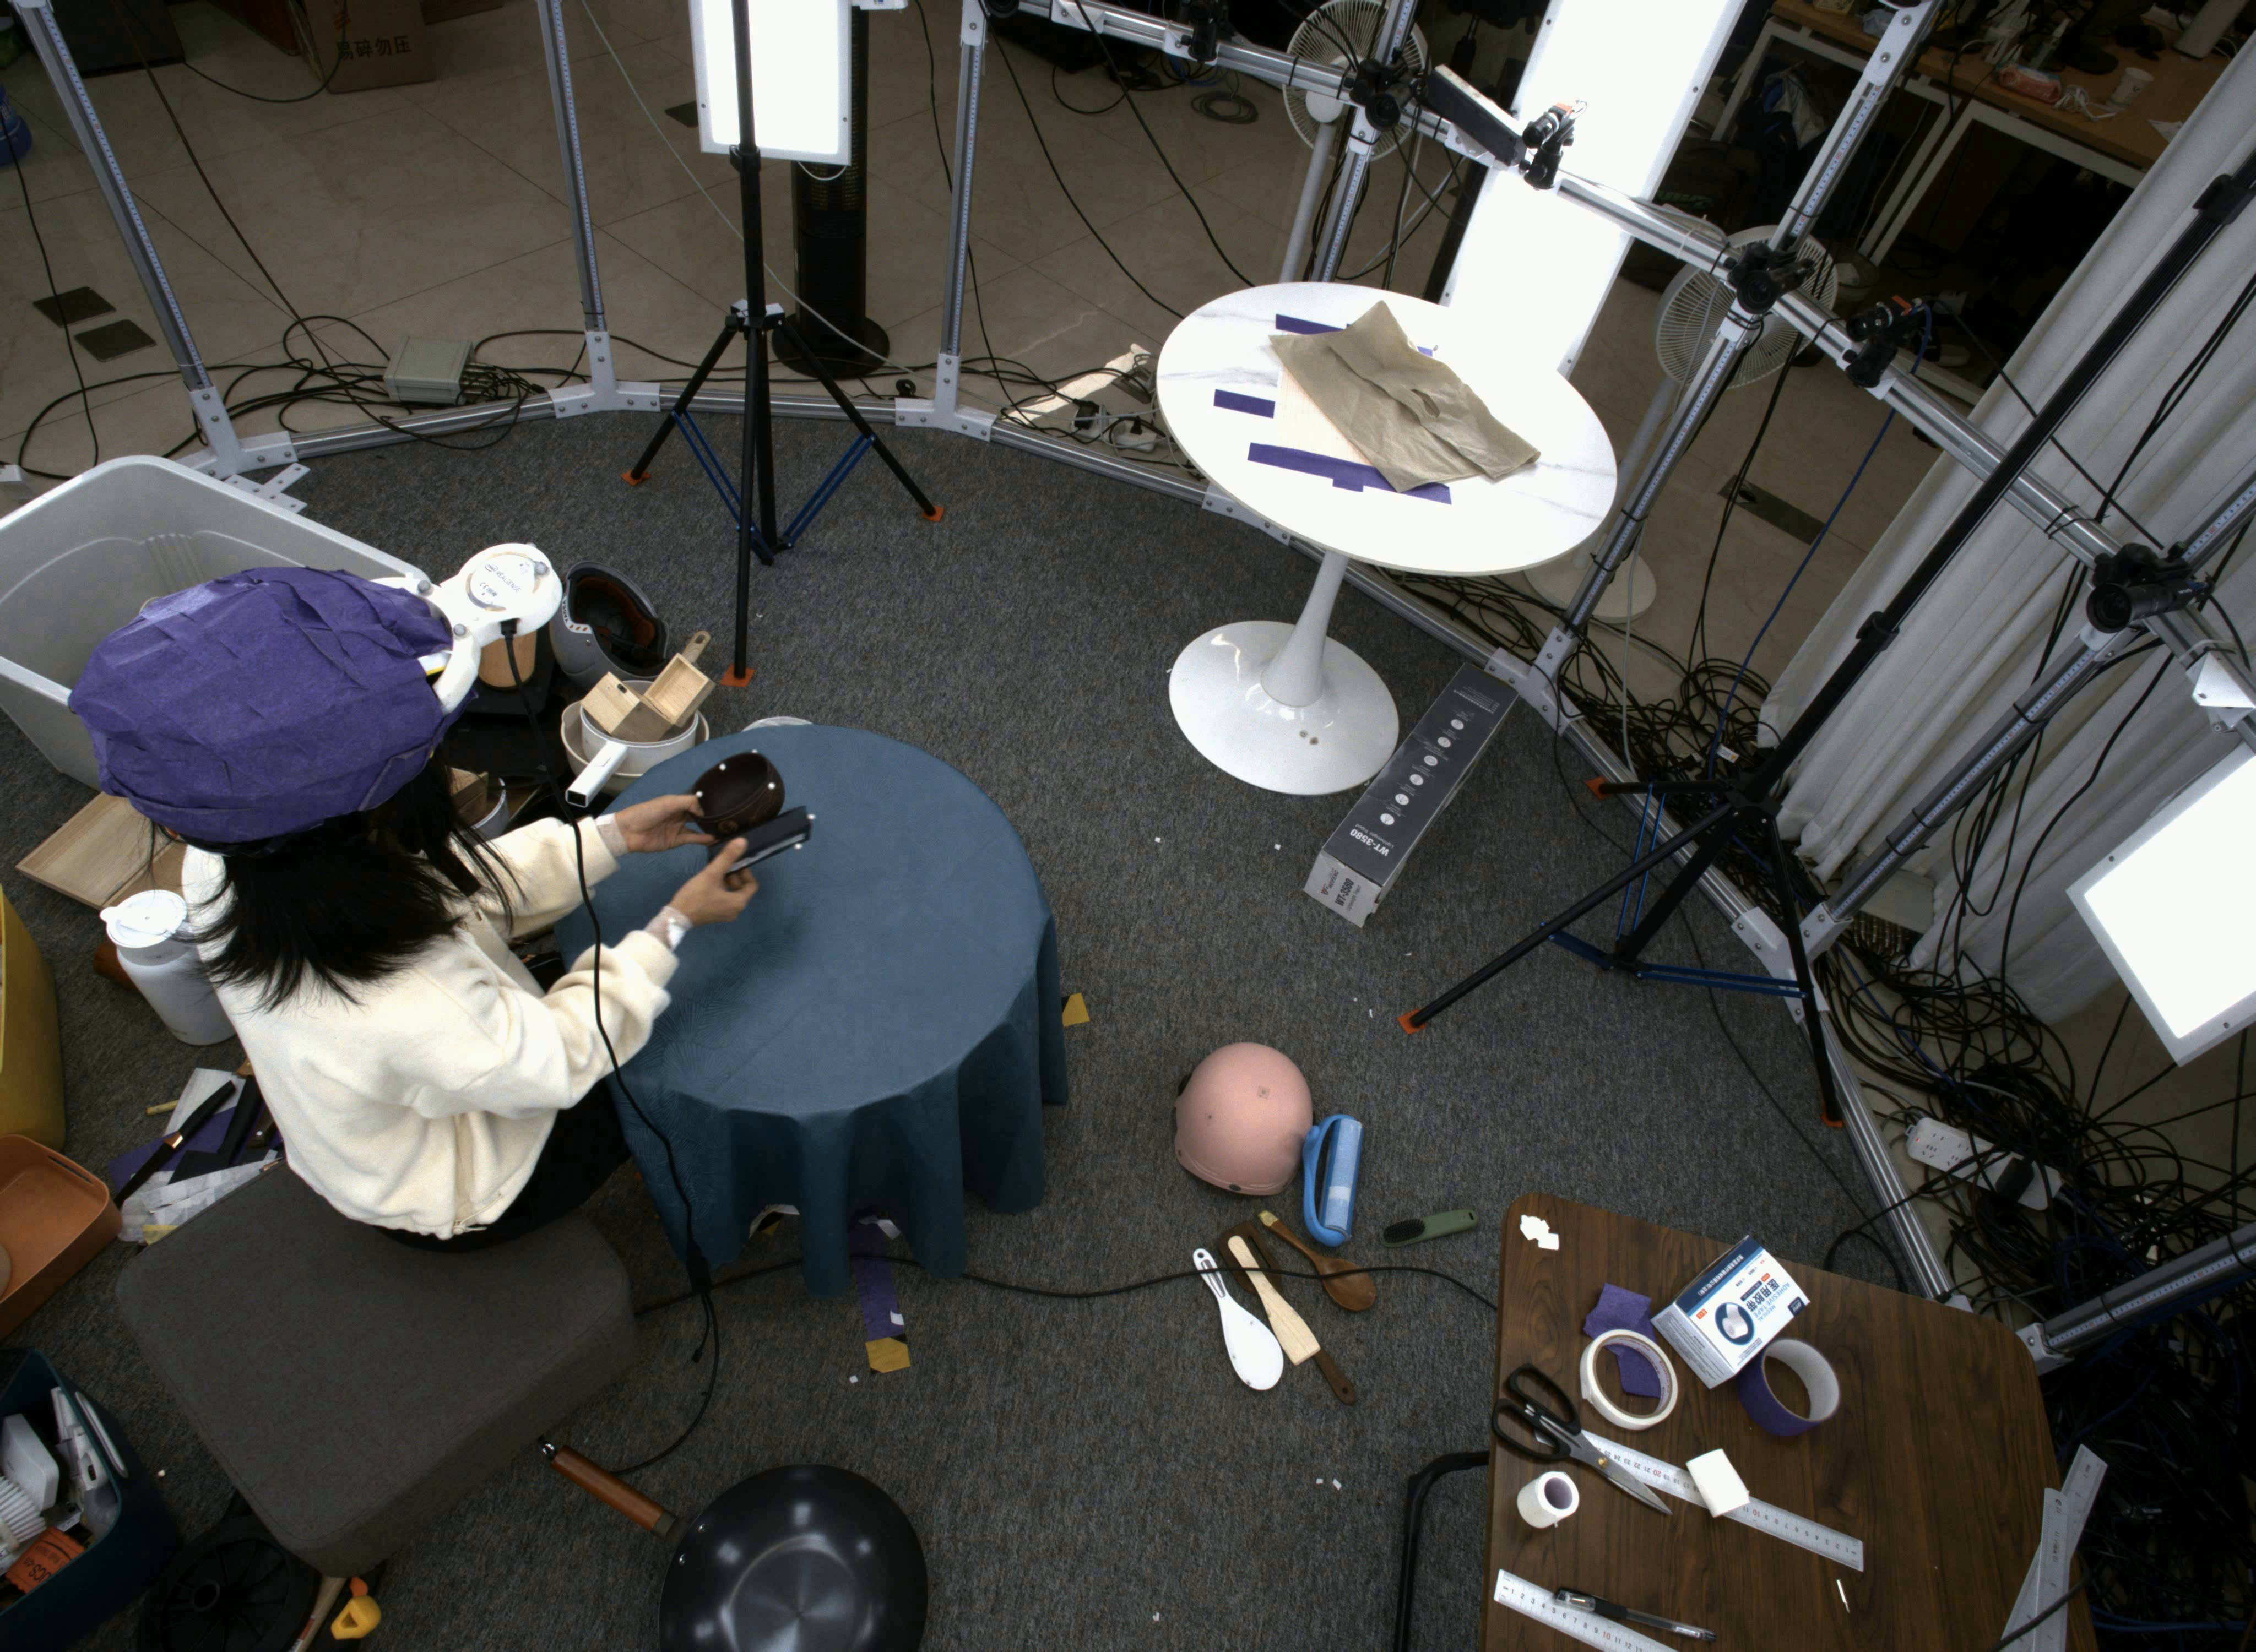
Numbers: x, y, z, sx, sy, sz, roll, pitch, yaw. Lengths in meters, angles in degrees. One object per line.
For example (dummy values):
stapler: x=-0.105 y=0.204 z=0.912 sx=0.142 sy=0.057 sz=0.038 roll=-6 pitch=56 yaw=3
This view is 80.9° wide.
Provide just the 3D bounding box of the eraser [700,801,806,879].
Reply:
eraser: x=-0.444 y=0.015 z=1.532 sx=0.126 sy=0.054 sz=0.030 roll=-27 pitch=71 yaw=-26

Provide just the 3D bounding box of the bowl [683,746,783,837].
bowl: x=-0.472 y=-0.033 z=1.568 sx=0.116 sy=0.072 sz=0.116 roll=-12 pitch=45 yaw=14
